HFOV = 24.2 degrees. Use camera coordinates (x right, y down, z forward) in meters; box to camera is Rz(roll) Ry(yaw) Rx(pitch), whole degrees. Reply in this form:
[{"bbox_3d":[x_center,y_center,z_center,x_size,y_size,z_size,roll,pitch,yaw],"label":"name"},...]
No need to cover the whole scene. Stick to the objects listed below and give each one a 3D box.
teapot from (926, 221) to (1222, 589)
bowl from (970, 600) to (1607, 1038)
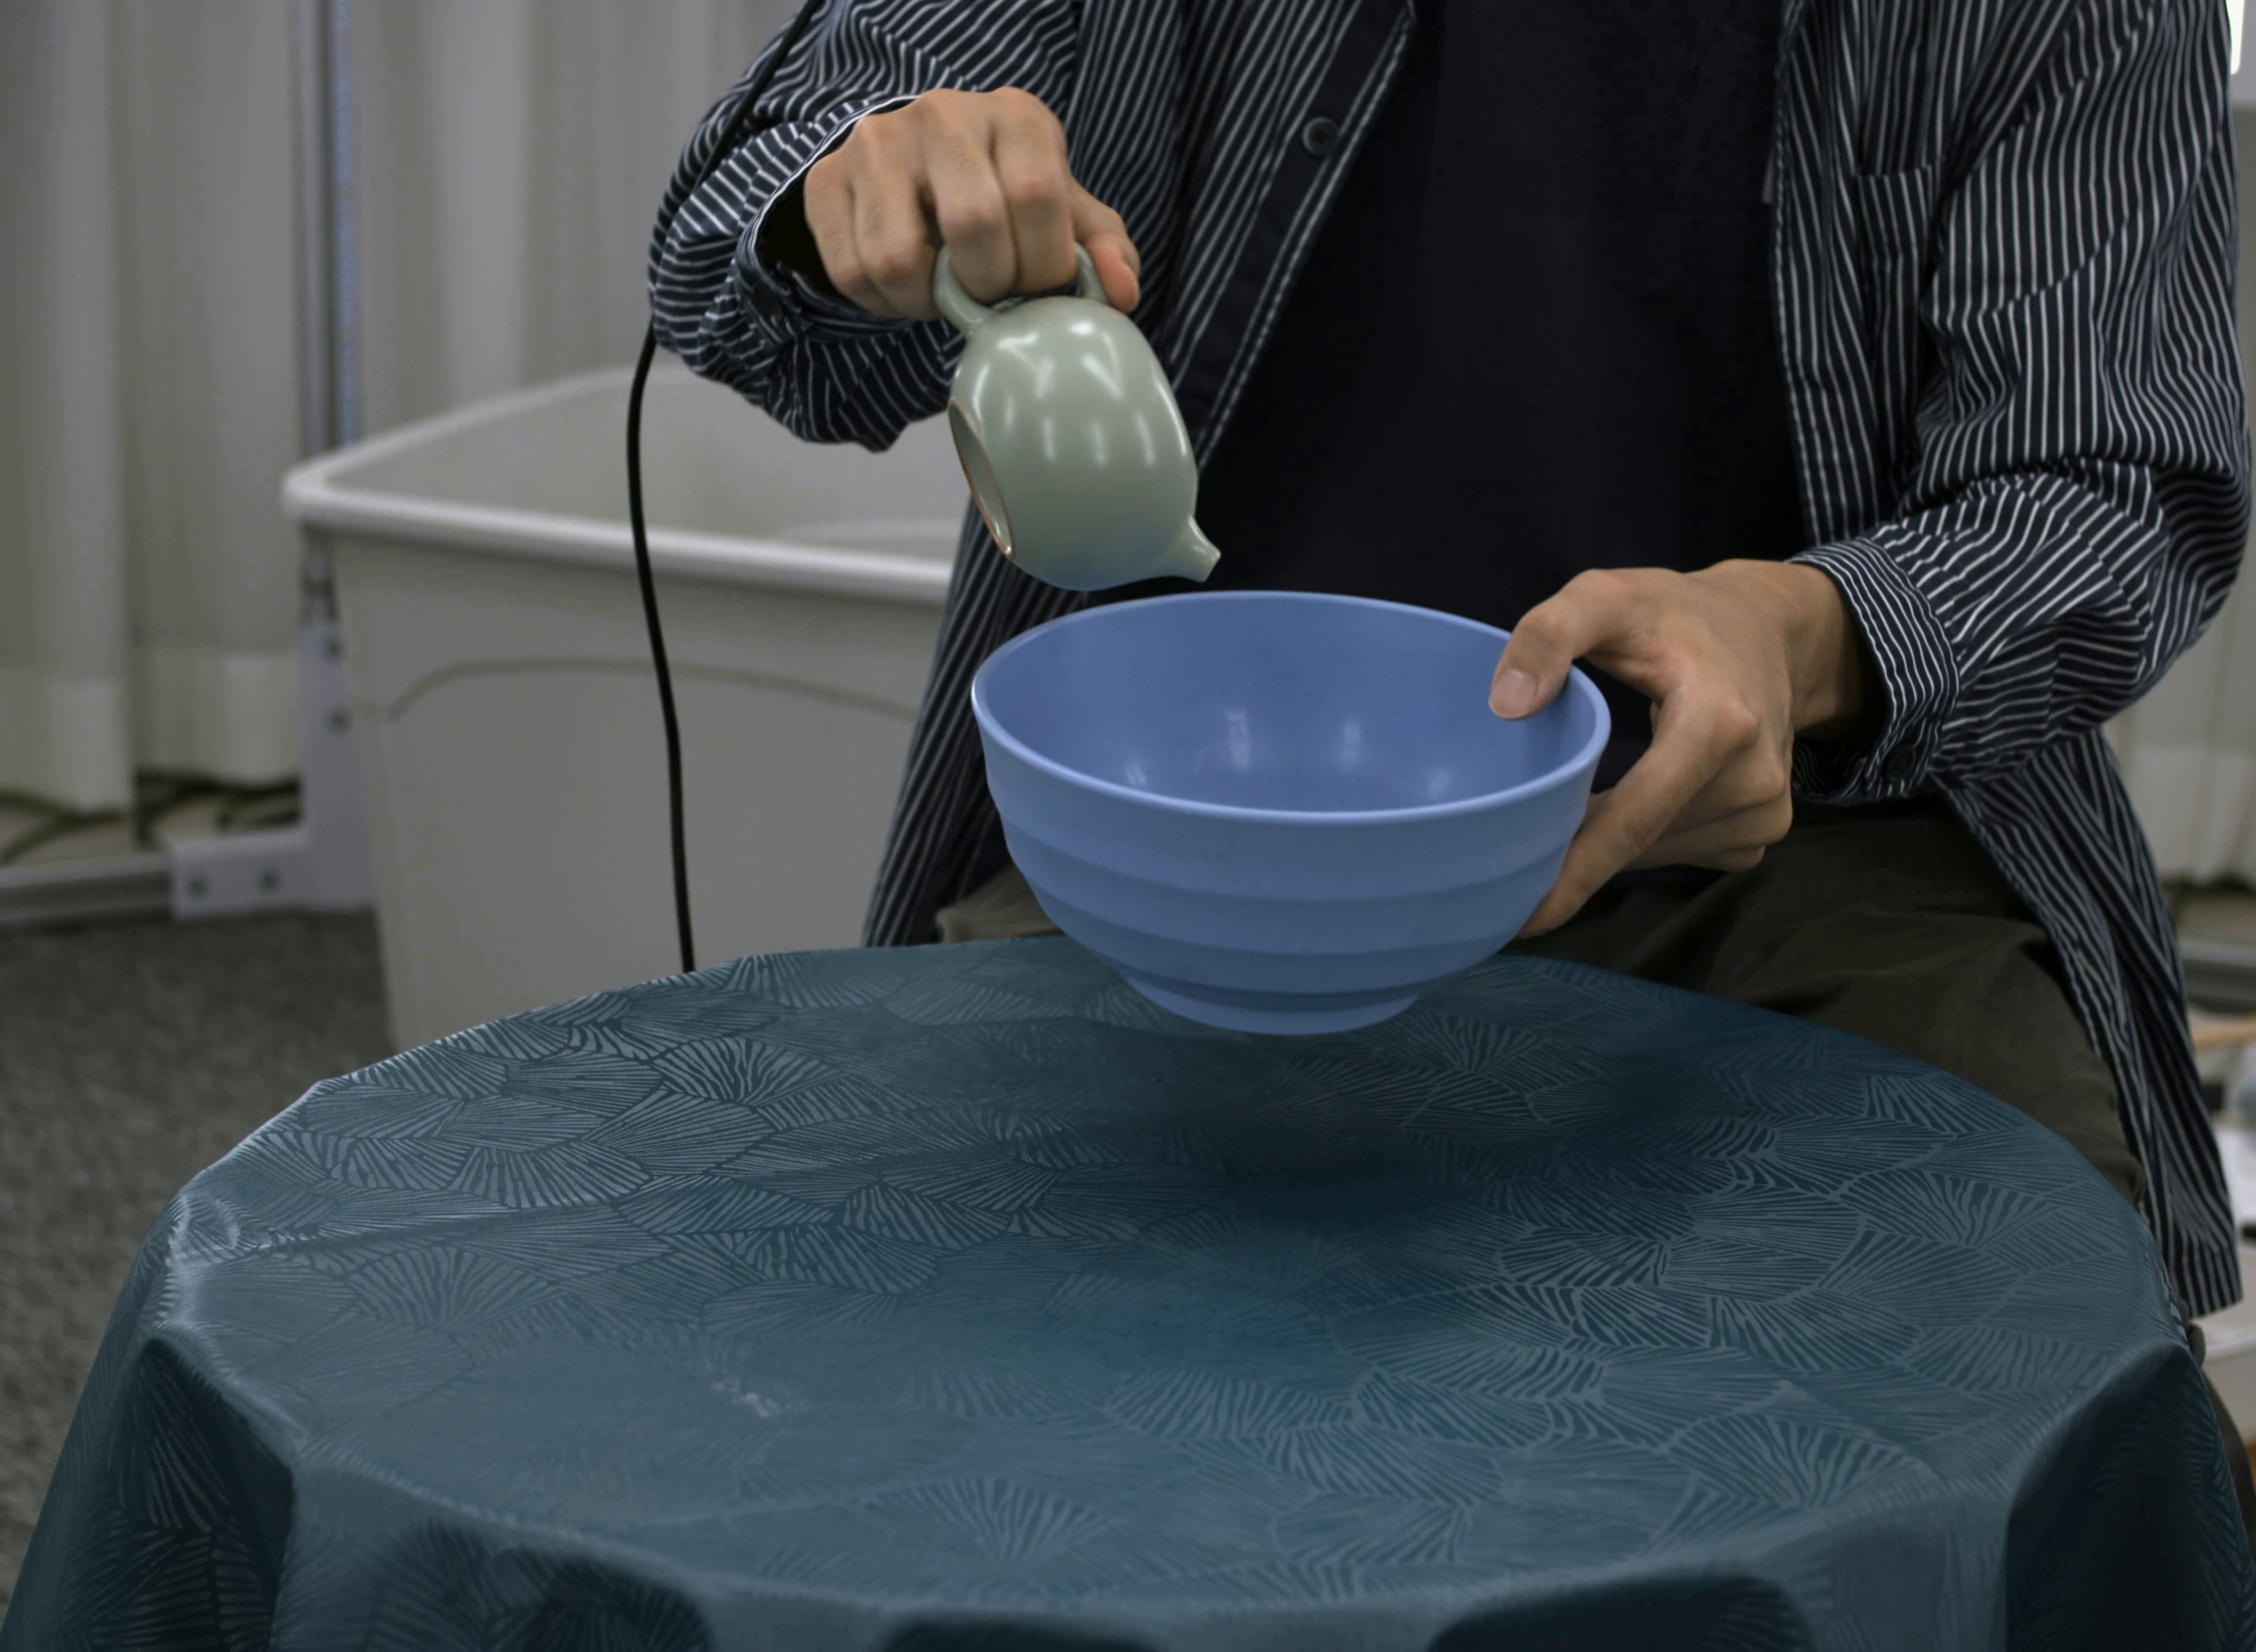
[{"bbox_3d":[-0.022,-0.126,1.606,0.061,0.128,0.092,-24,-8,-7],"label":"teapot"},{"bbox_3d":[0.048,0.005,1.635,0.196,0.096,0.195,2,22,0],"label":"bowl"}]
